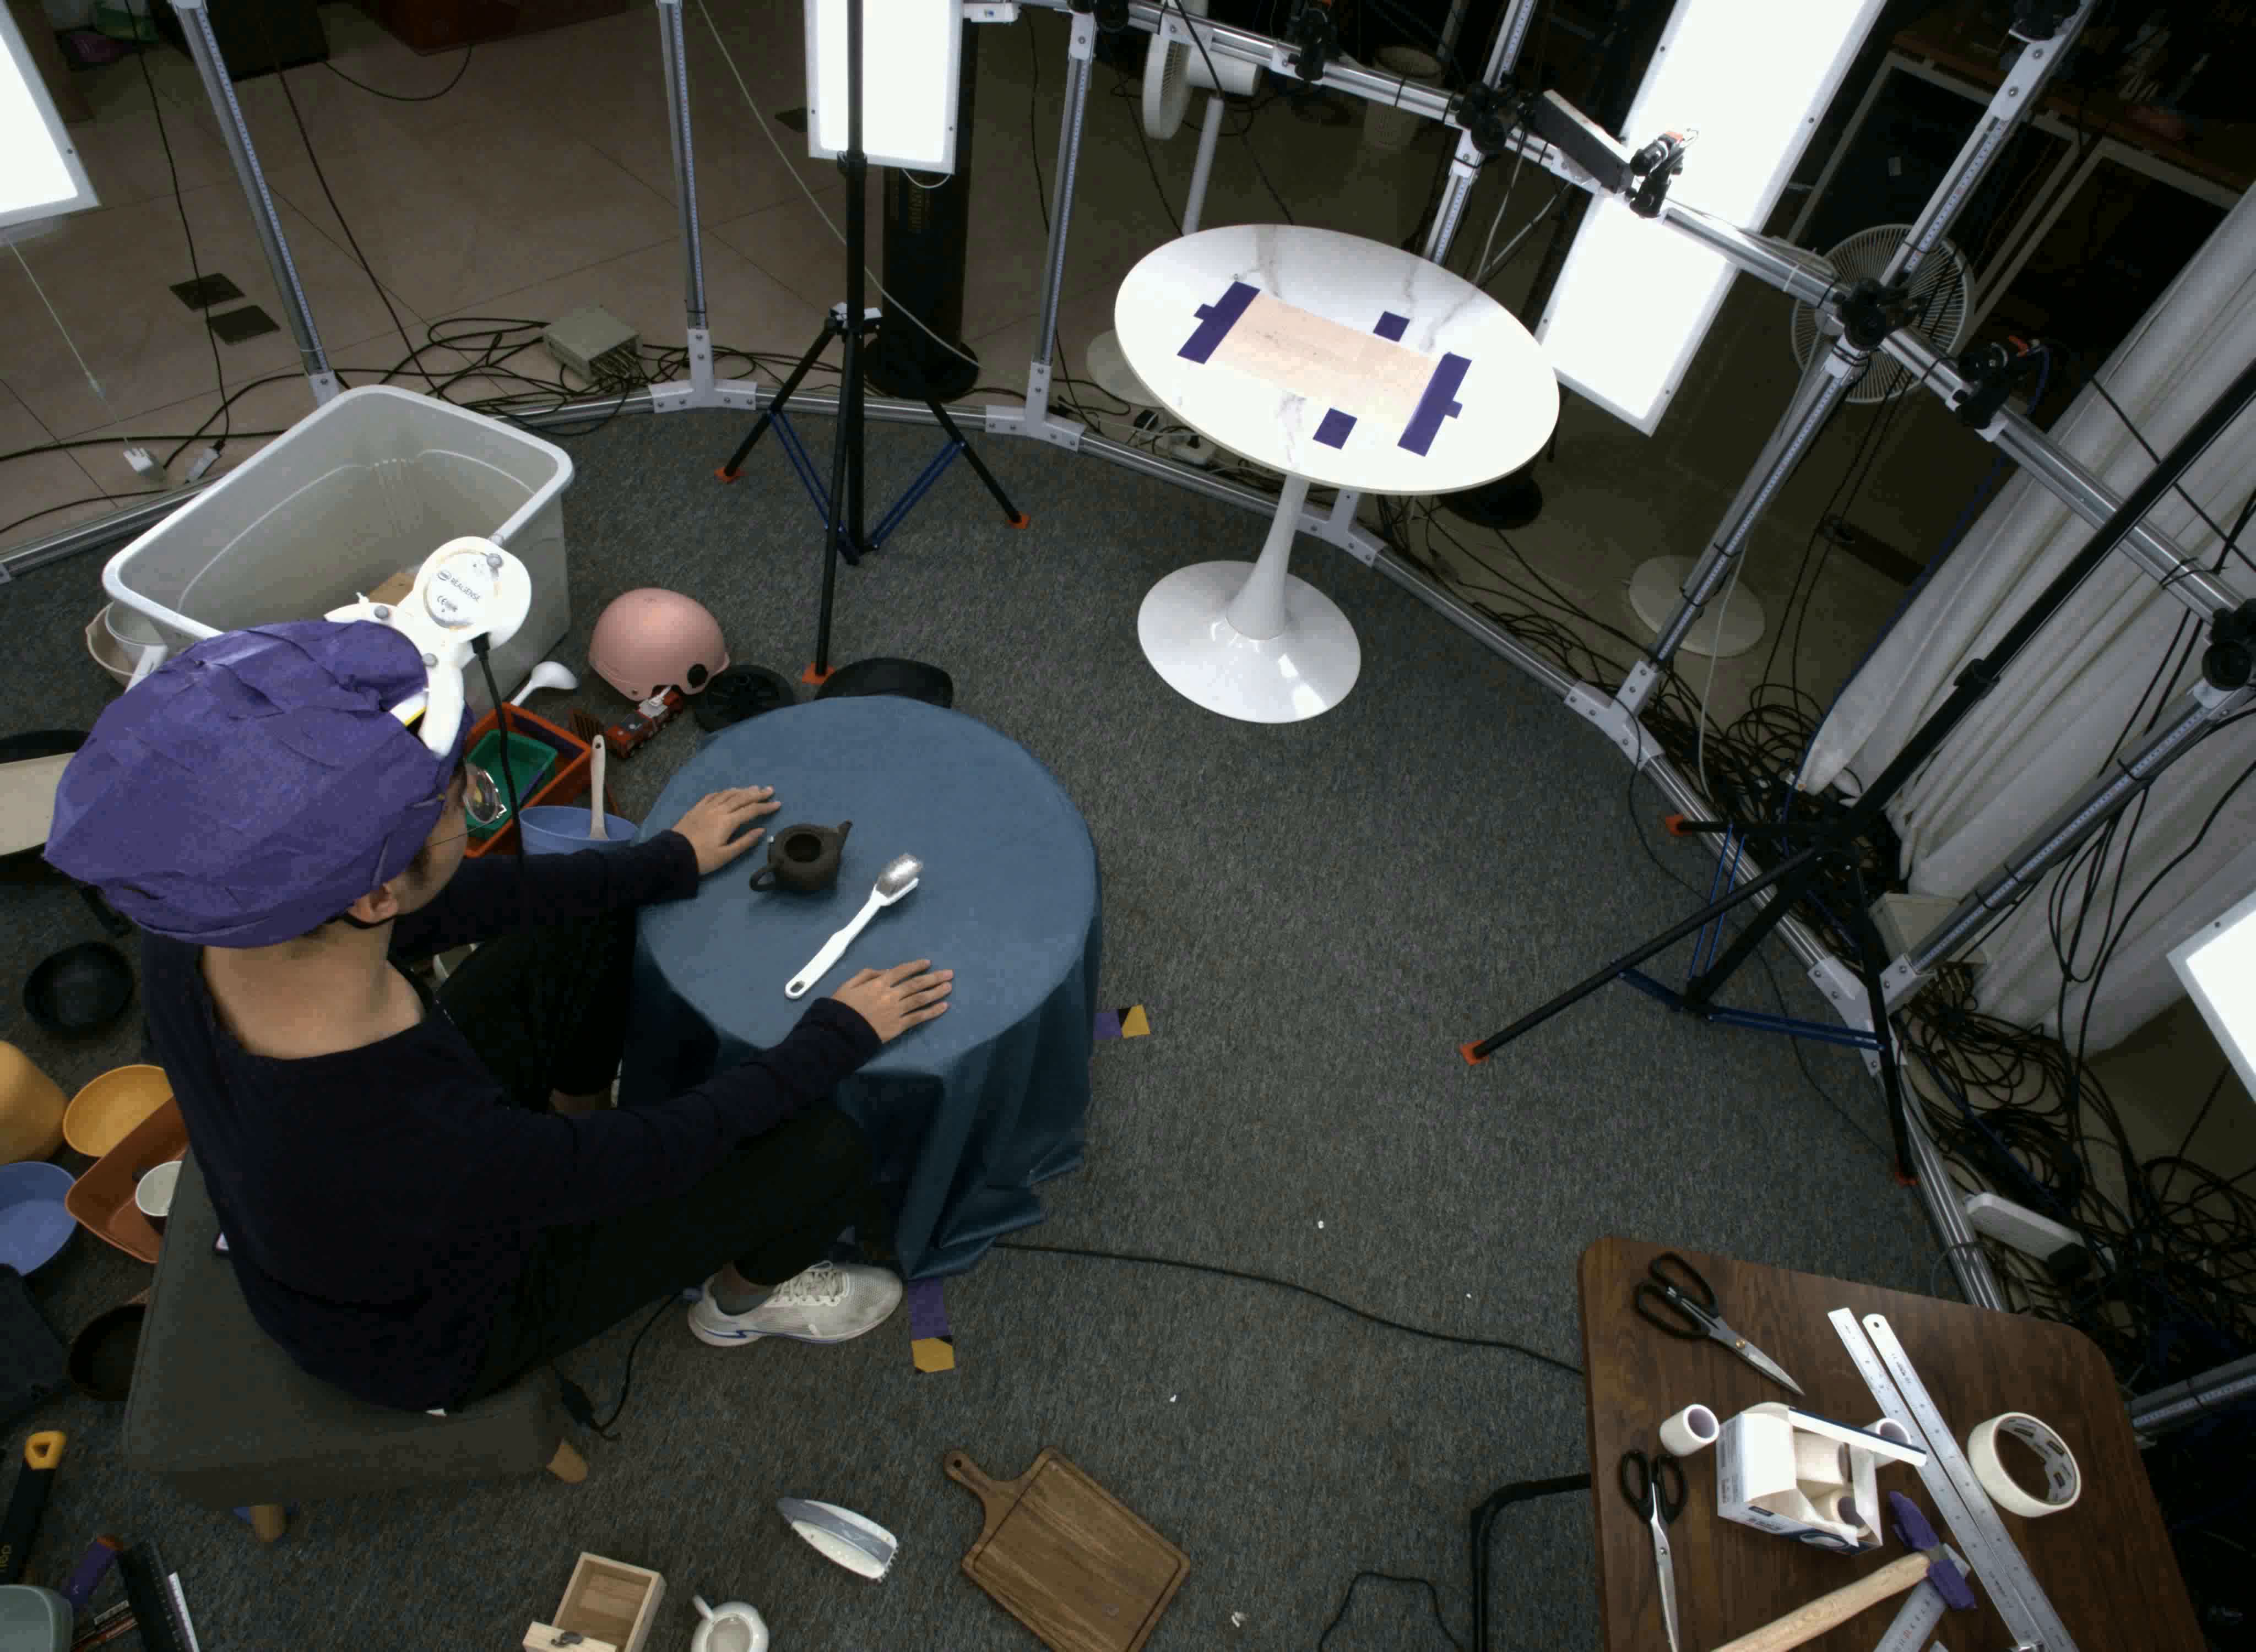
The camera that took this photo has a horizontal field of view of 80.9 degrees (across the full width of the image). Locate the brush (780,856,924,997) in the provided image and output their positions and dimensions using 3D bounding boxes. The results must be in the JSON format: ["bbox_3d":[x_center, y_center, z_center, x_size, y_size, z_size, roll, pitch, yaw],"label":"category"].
[{"bbox_3d":[-0.345,0.120,1.627,0.034,0.051,0.243,37,54,11],"label":"brush"}]

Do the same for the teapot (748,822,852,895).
[{"bbox_3d":[-0.417,0.043,1.656,0.155,0.066,0.090,-32,67,-30],"label":"teapot"}]
